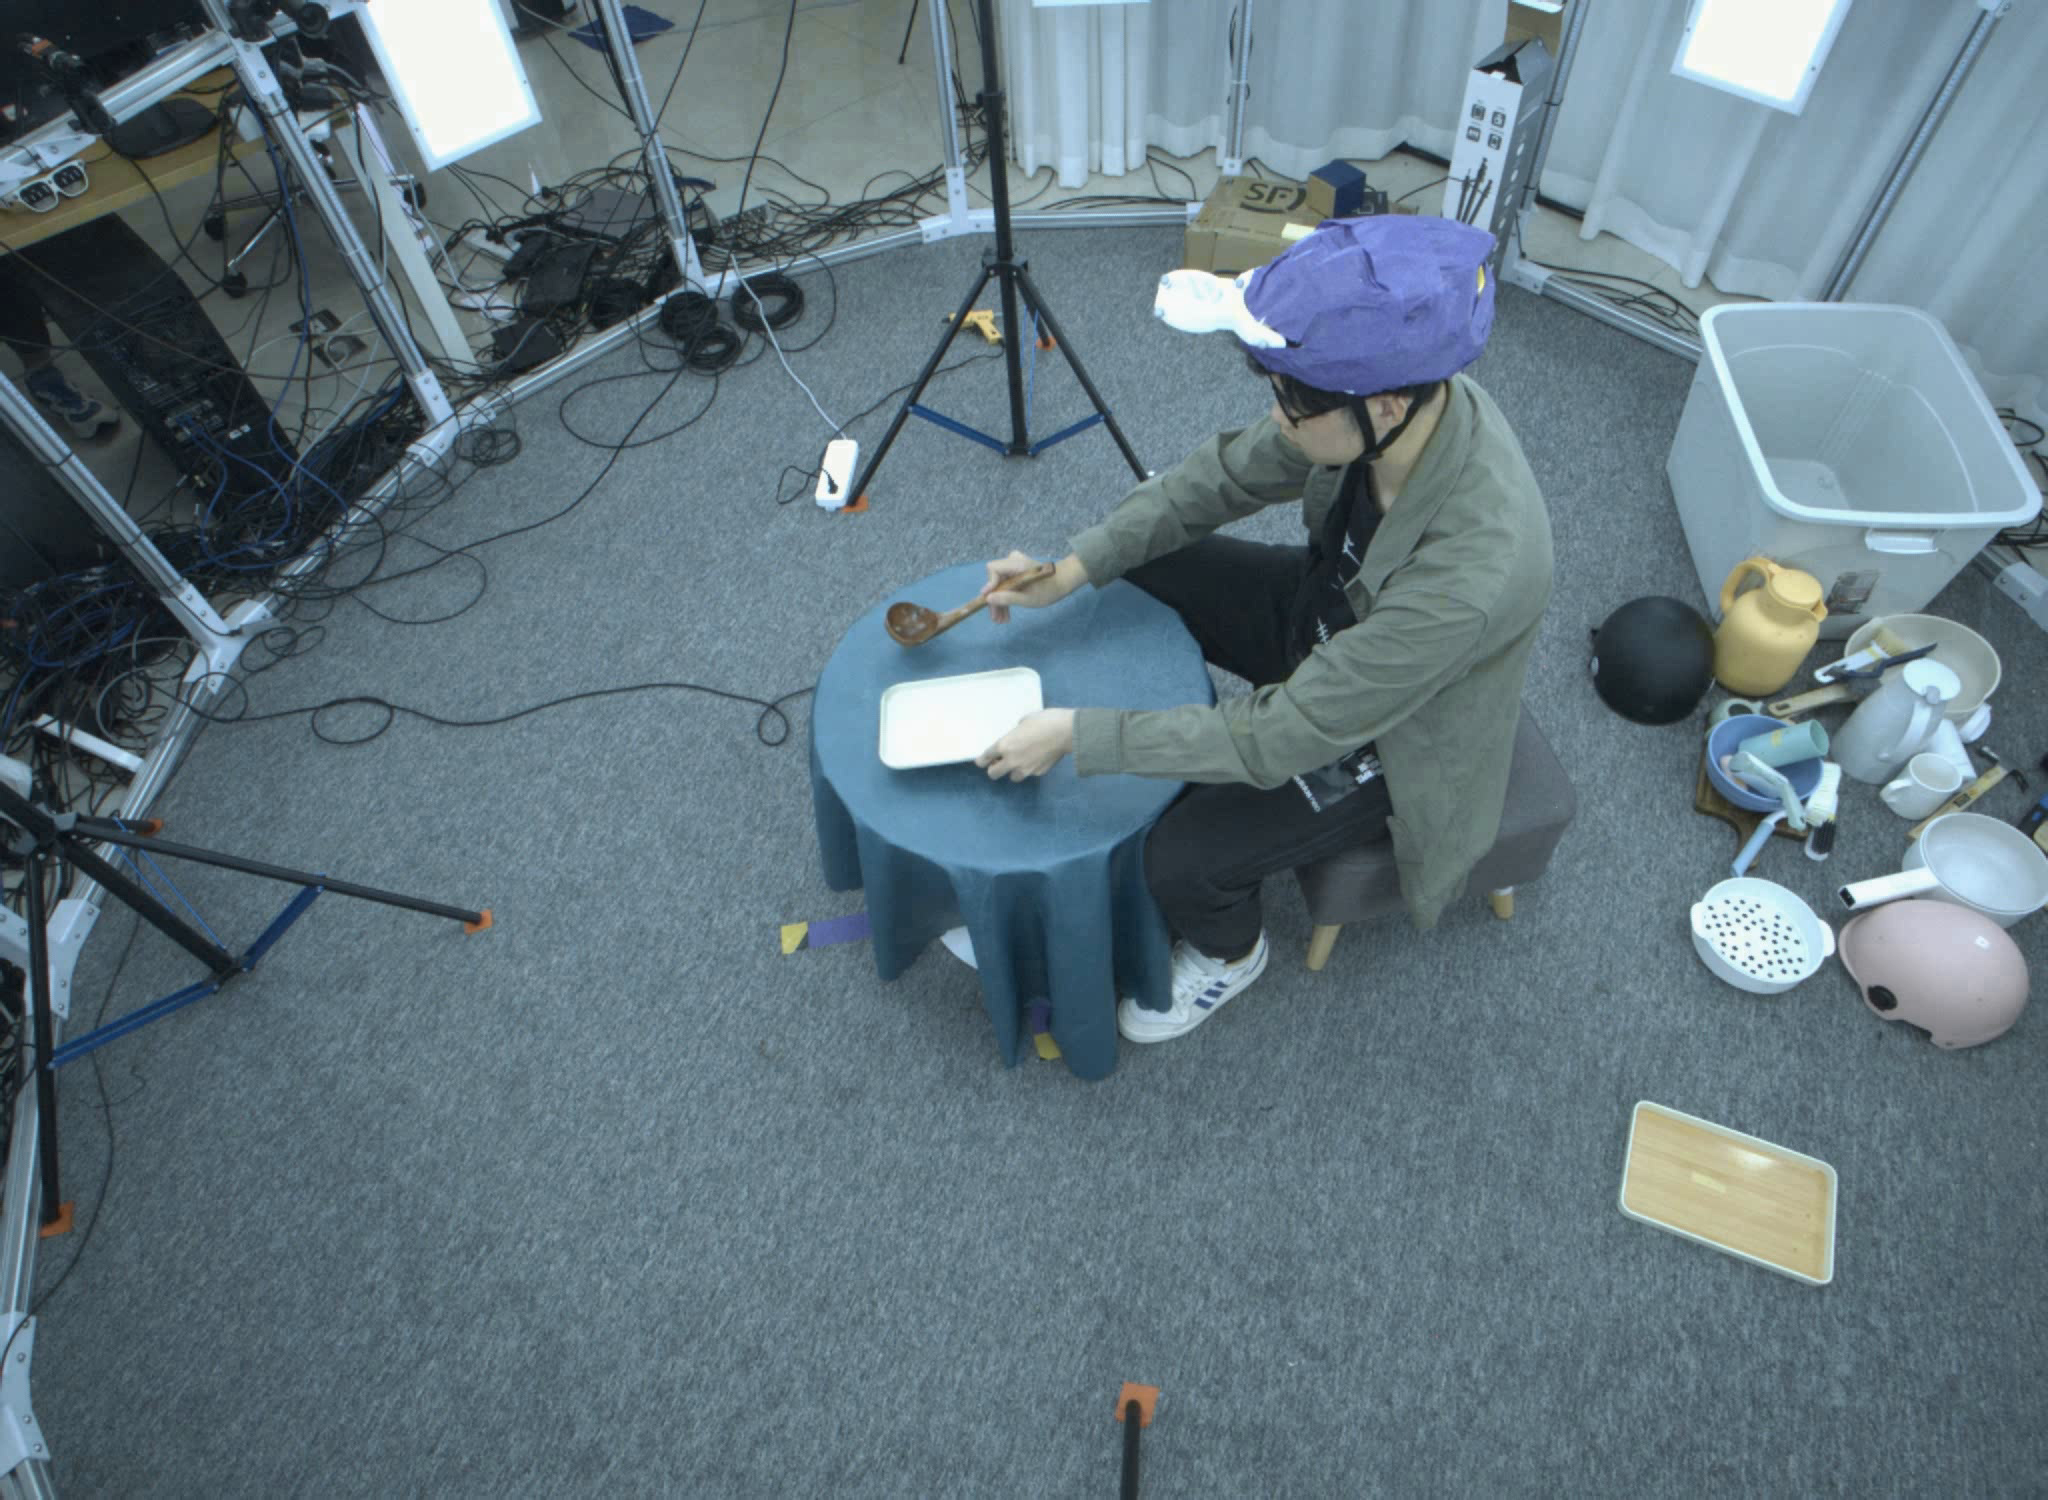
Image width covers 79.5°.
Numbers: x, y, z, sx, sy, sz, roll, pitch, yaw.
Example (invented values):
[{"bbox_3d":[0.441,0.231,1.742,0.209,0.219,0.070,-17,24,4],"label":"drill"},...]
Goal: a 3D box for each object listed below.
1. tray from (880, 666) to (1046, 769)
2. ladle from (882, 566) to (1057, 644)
[{"bbox_3d":[-0.090,-0.046,1.781,0.239,0.018,0.169,-7,48,1],"label":"tray"},{"bbox_3d":[-0.087,-0.231,1.827,0.271,0.078,0.081,-21,59,23],"label":"ladle"}]
